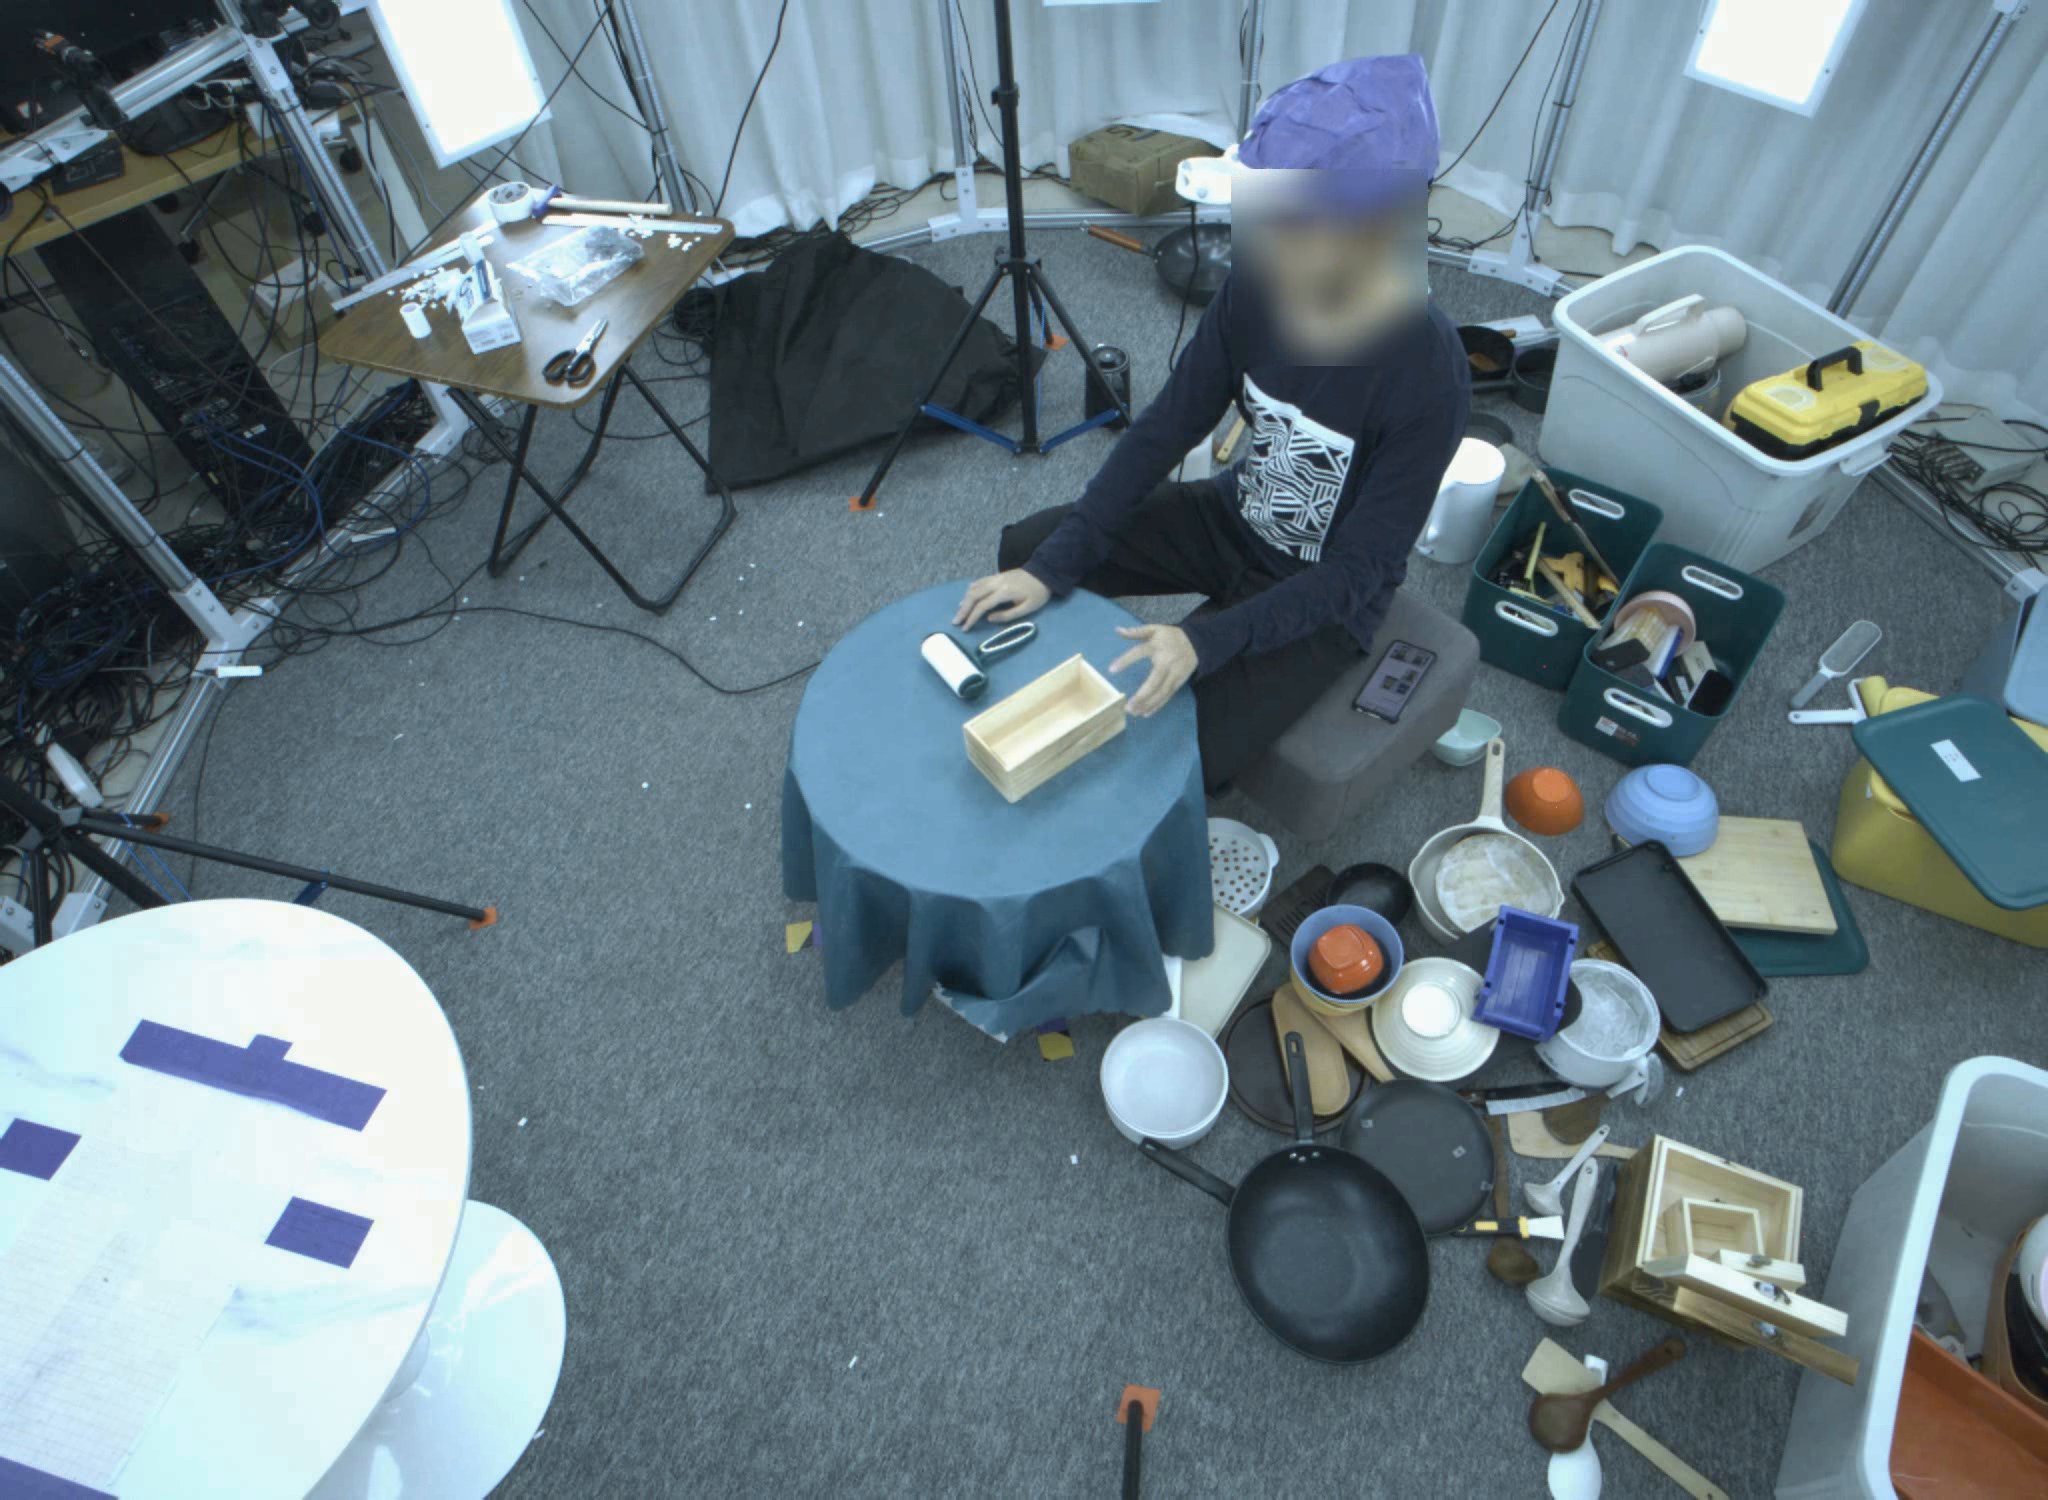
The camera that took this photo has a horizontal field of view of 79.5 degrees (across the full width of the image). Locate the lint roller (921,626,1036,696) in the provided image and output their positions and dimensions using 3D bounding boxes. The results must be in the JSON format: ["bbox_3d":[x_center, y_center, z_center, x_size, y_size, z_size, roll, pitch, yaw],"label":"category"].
[{"bbox_3d":[-0.055,-0.160,1.886,0.182,0.049,0.132,-30,59,-22],"label":"lint roller"}]

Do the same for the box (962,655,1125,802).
[{"bbox_3d":[0.030,-0.033,1.769,0.213,0.081,0.105,-33,59,-22],"label":"box"}]
